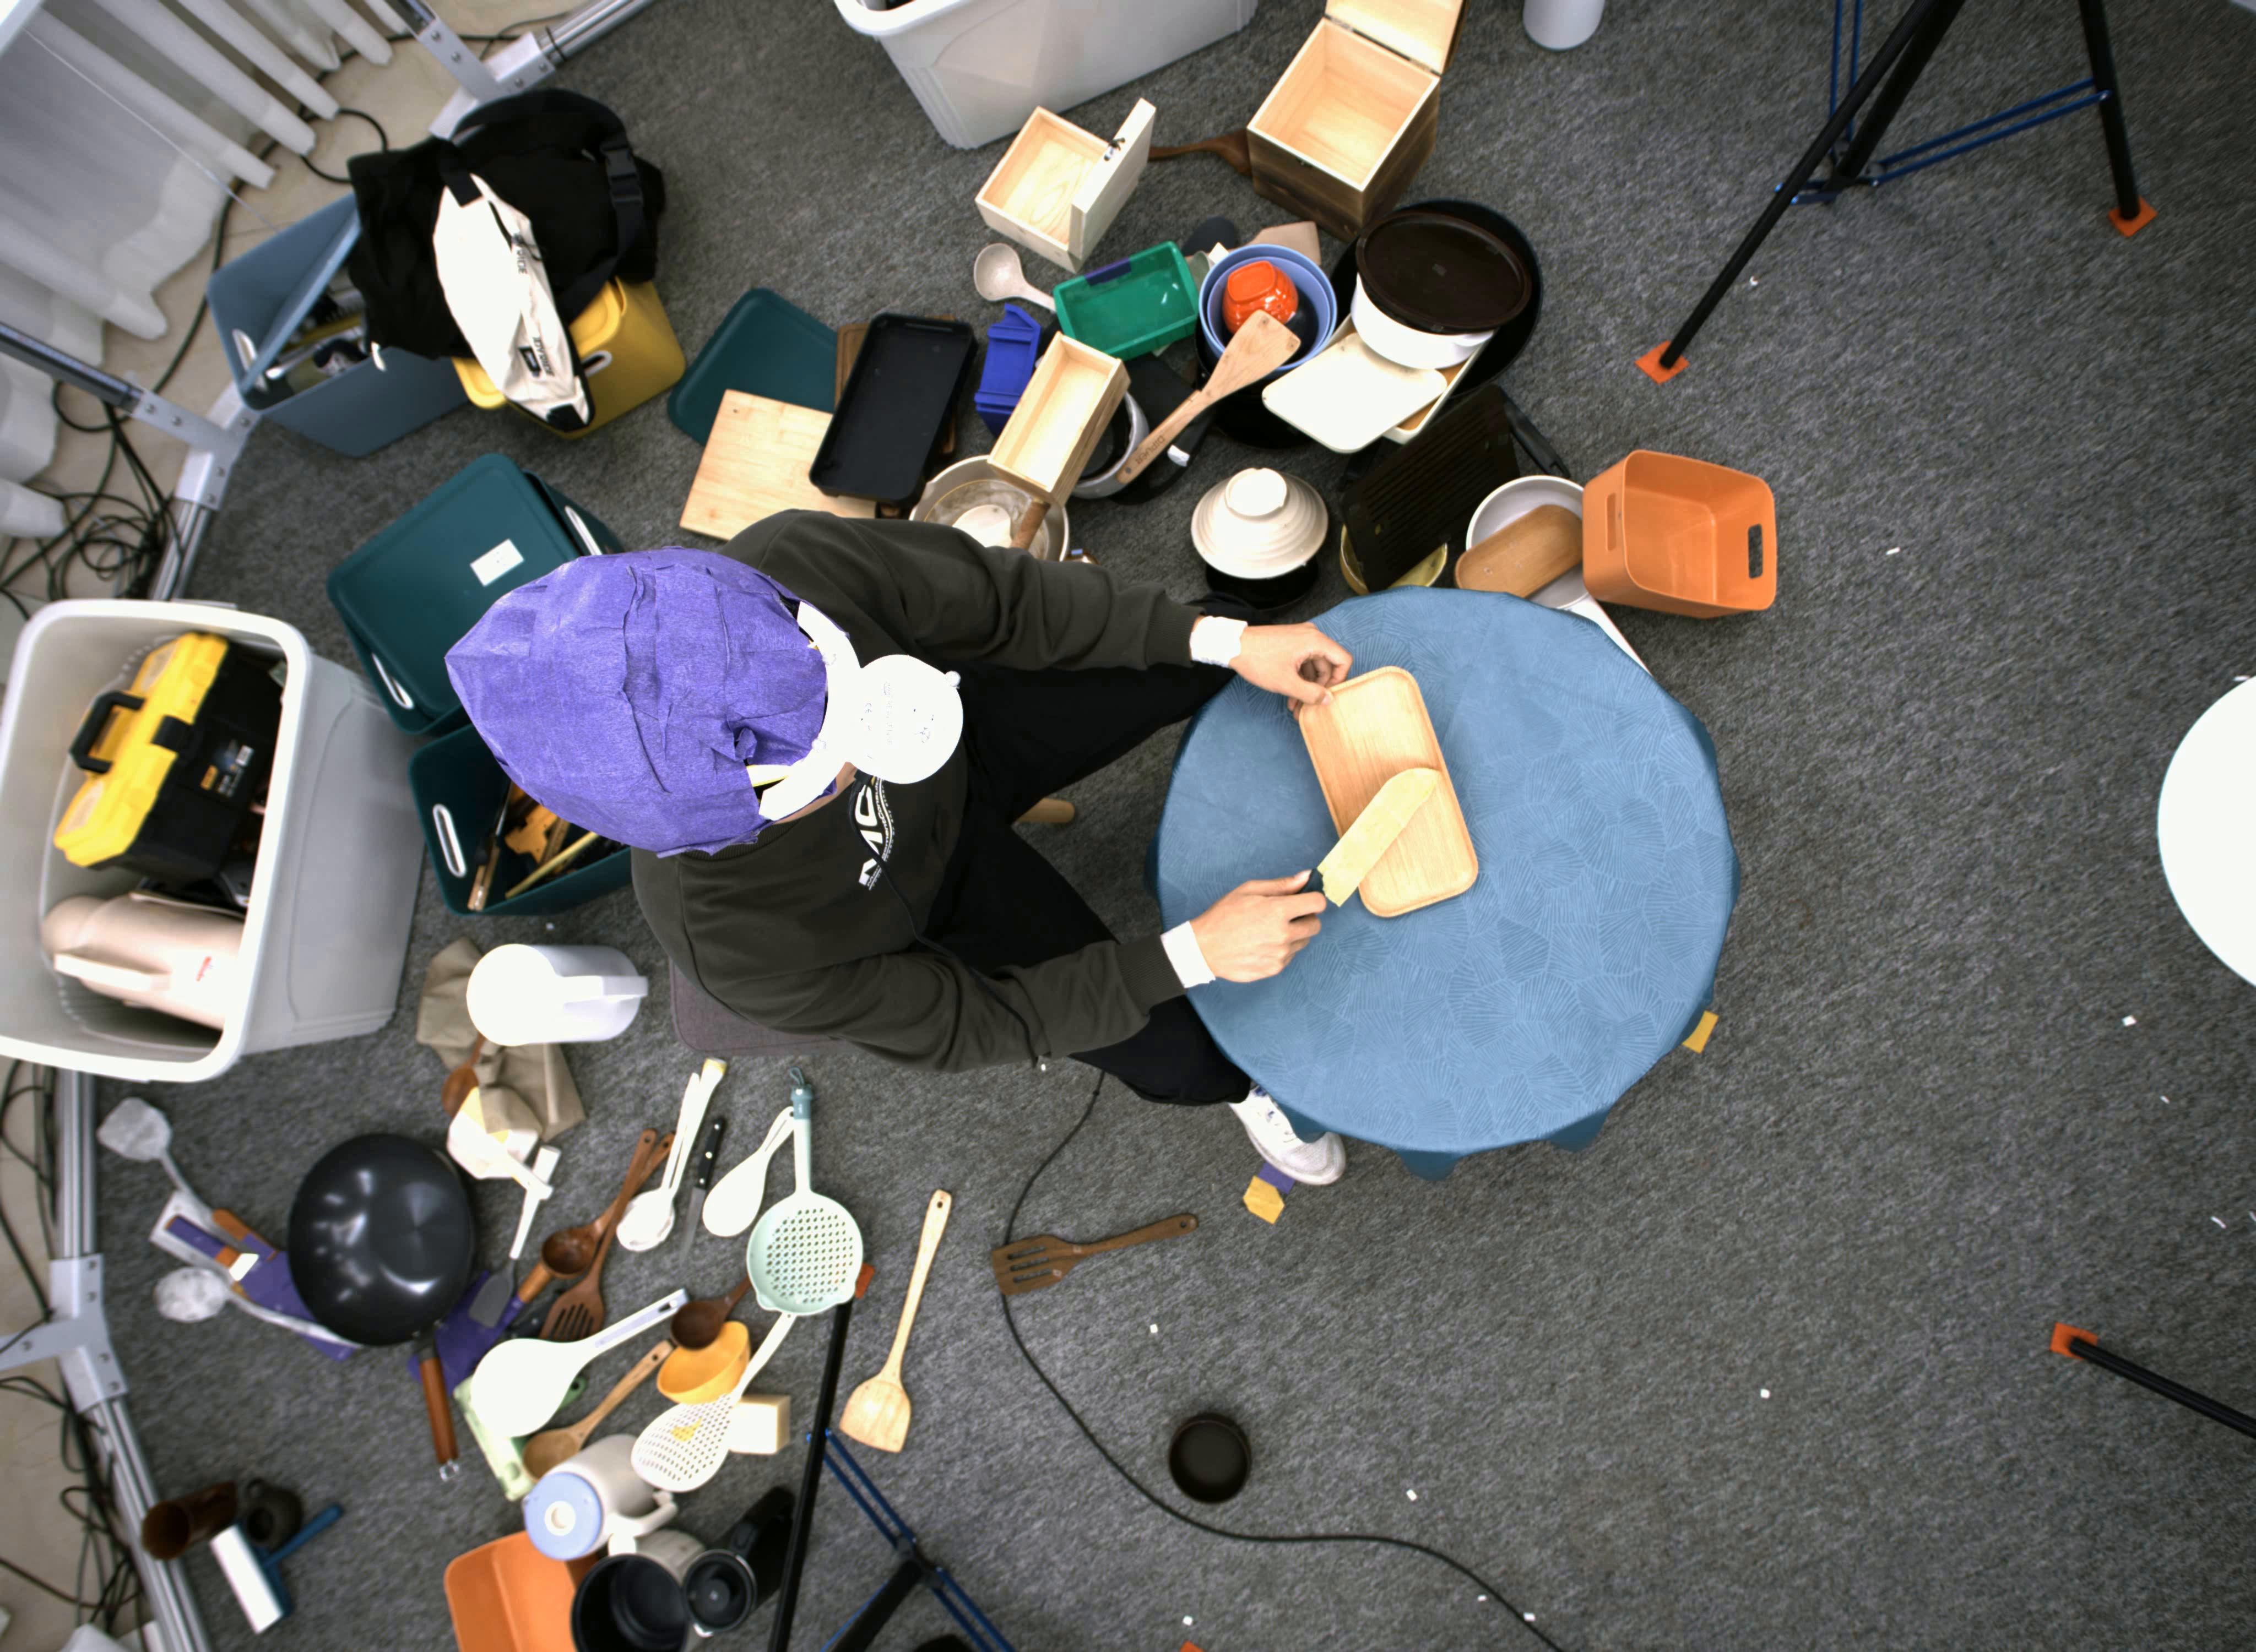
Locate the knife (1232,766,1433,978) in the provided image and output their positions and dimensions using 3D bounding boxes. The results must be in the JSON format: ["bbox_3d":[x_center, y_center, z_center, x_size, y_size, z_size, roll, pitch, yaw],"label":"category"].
[{"bbox_3d":[0.211,0.046,1.402,0.290,0.082,0.027,-48,45,4],"label":"knife"}]

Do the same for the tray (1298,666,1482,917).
[{"bbox_3d":[0.271,-0.035,1.421,0.131,0.022,0.252,-19,102,12],"label":"tray"}]
